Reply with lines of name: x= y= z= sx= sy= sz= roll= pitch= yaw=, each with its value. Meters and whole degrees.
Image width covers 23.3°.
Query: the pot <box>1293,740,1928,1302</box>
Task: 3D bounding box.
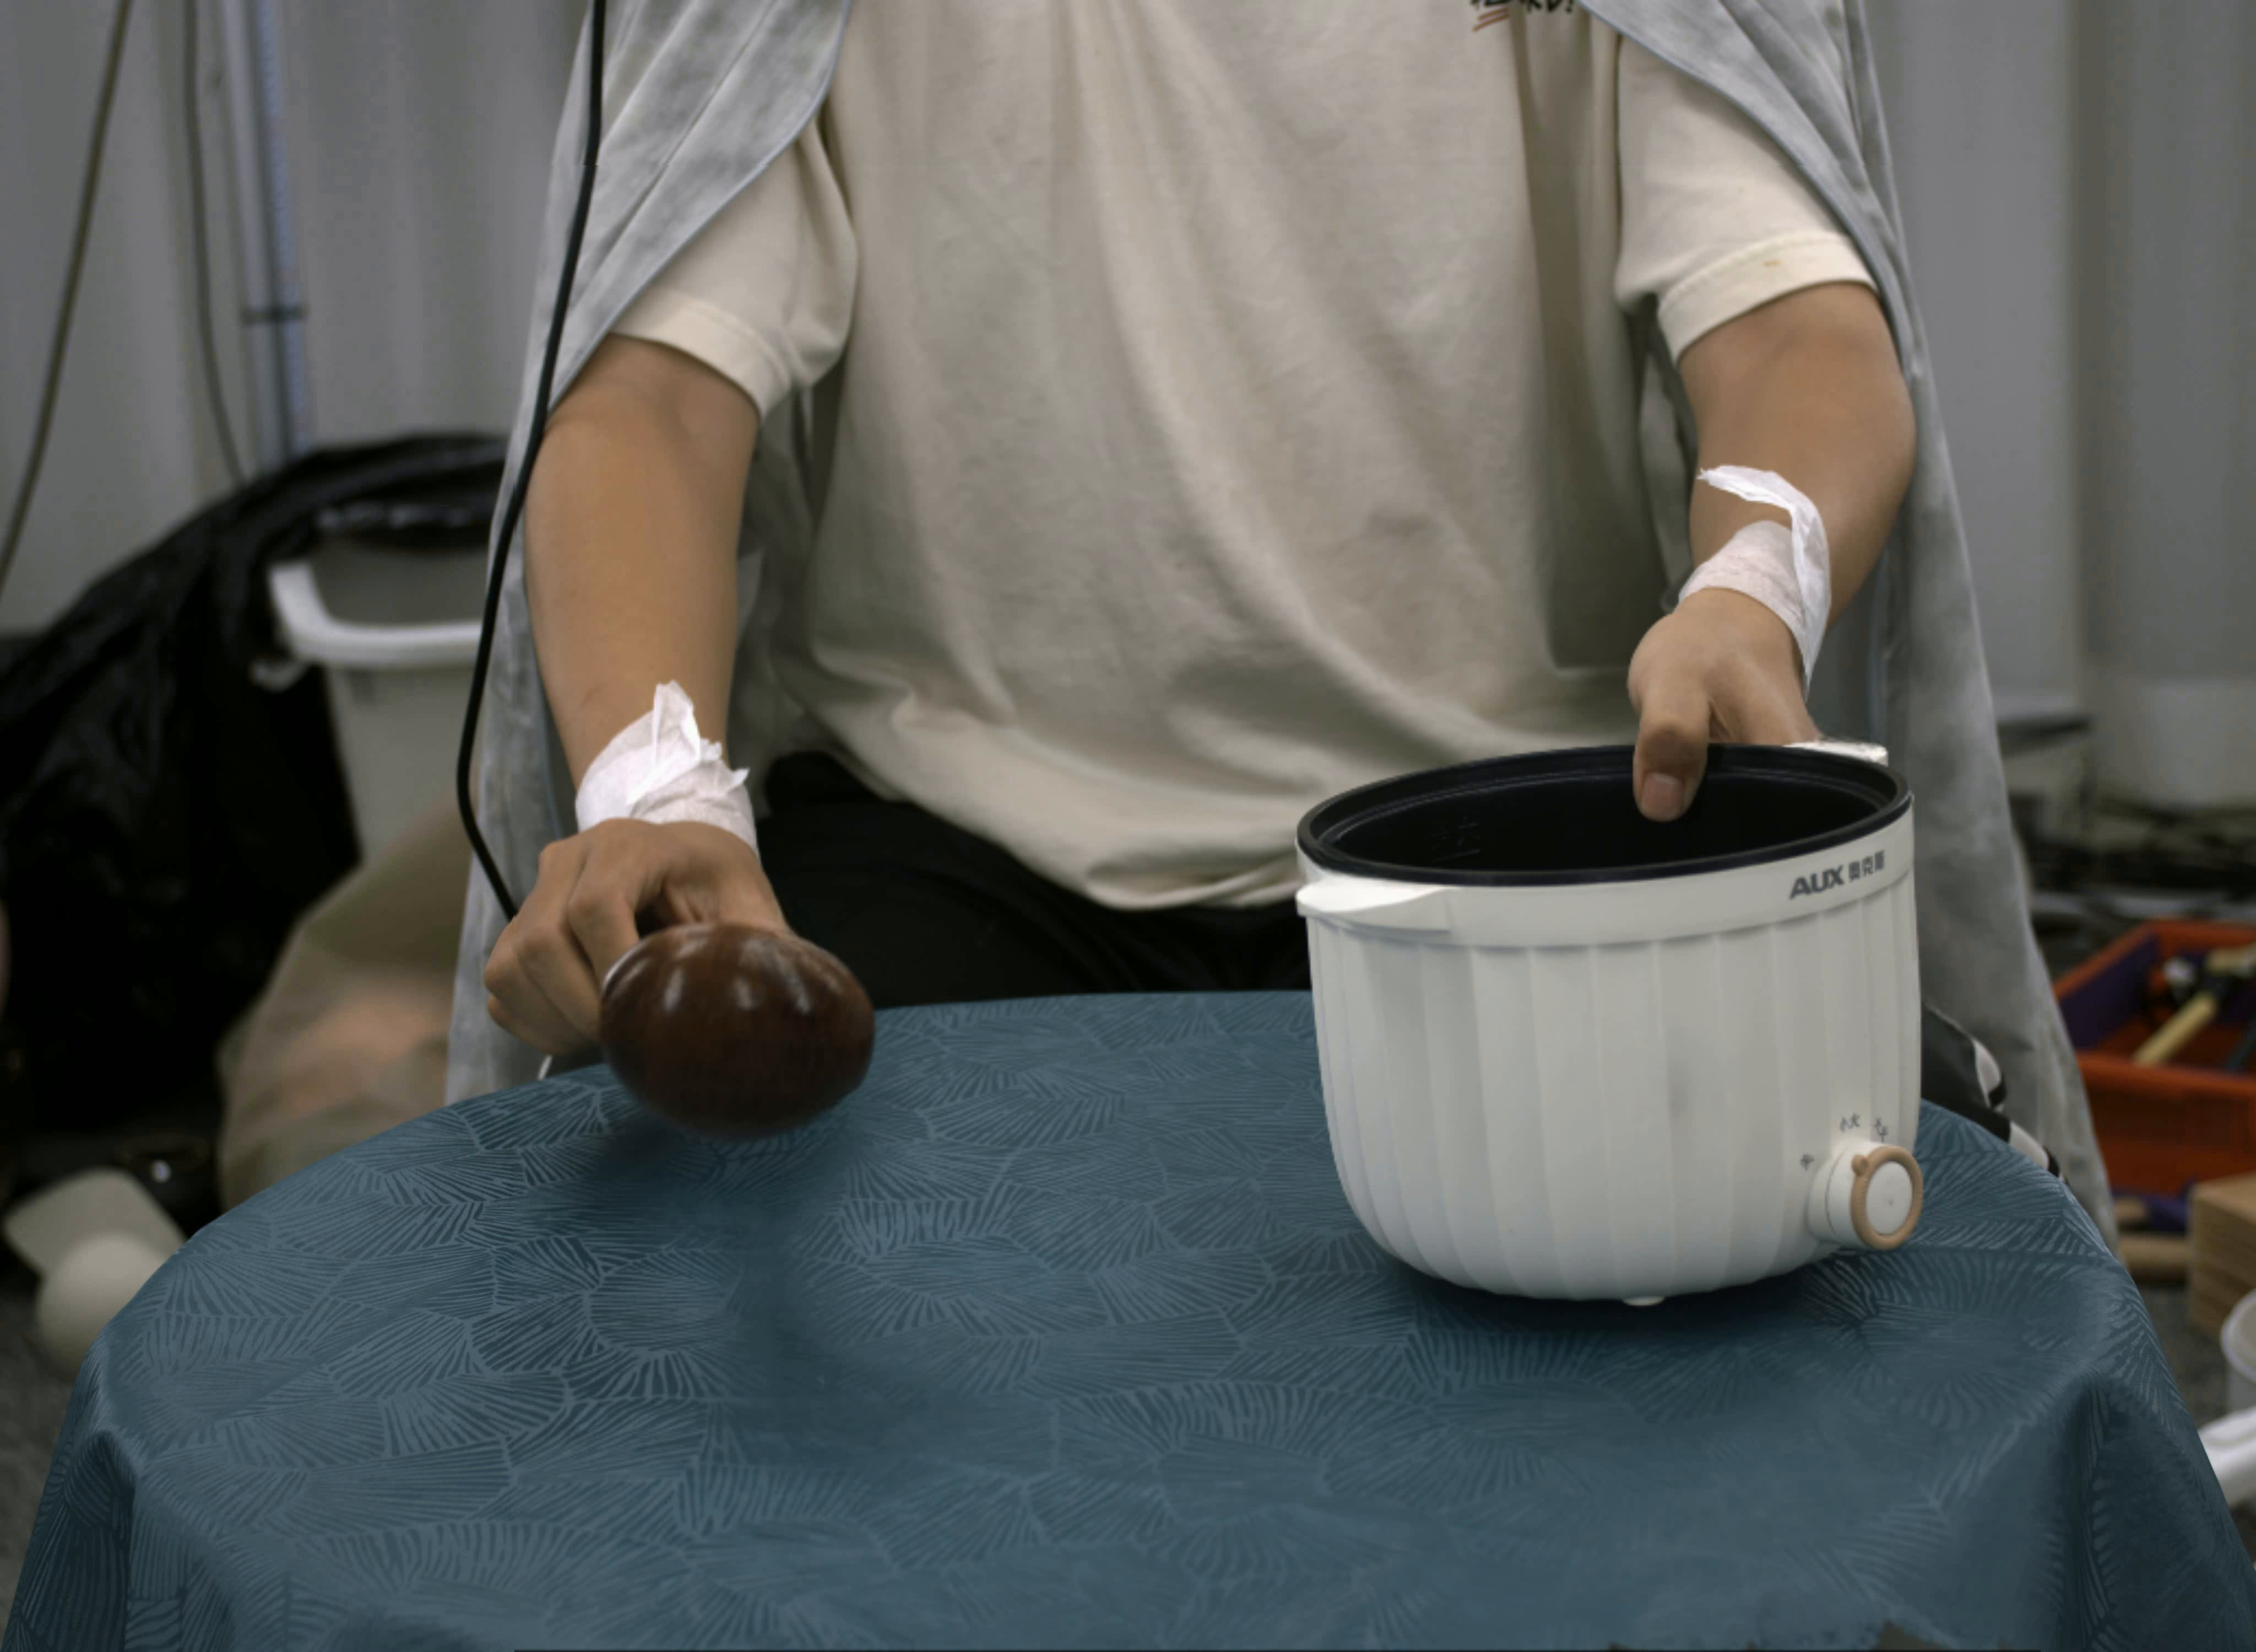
pot: x=0.149 y=0.059 z=1.618 sx=0.240 sy=0.142 sz=0.191 roll=-16 pitch=12 yaw=-42

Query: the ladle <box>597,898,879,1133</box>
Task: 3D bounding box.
ladle: x=-0.125 y=0.038 z=1.669 sx=0.081 sy=0.076 sz=0.275 roll=24 pitch=6 yaw=-10
